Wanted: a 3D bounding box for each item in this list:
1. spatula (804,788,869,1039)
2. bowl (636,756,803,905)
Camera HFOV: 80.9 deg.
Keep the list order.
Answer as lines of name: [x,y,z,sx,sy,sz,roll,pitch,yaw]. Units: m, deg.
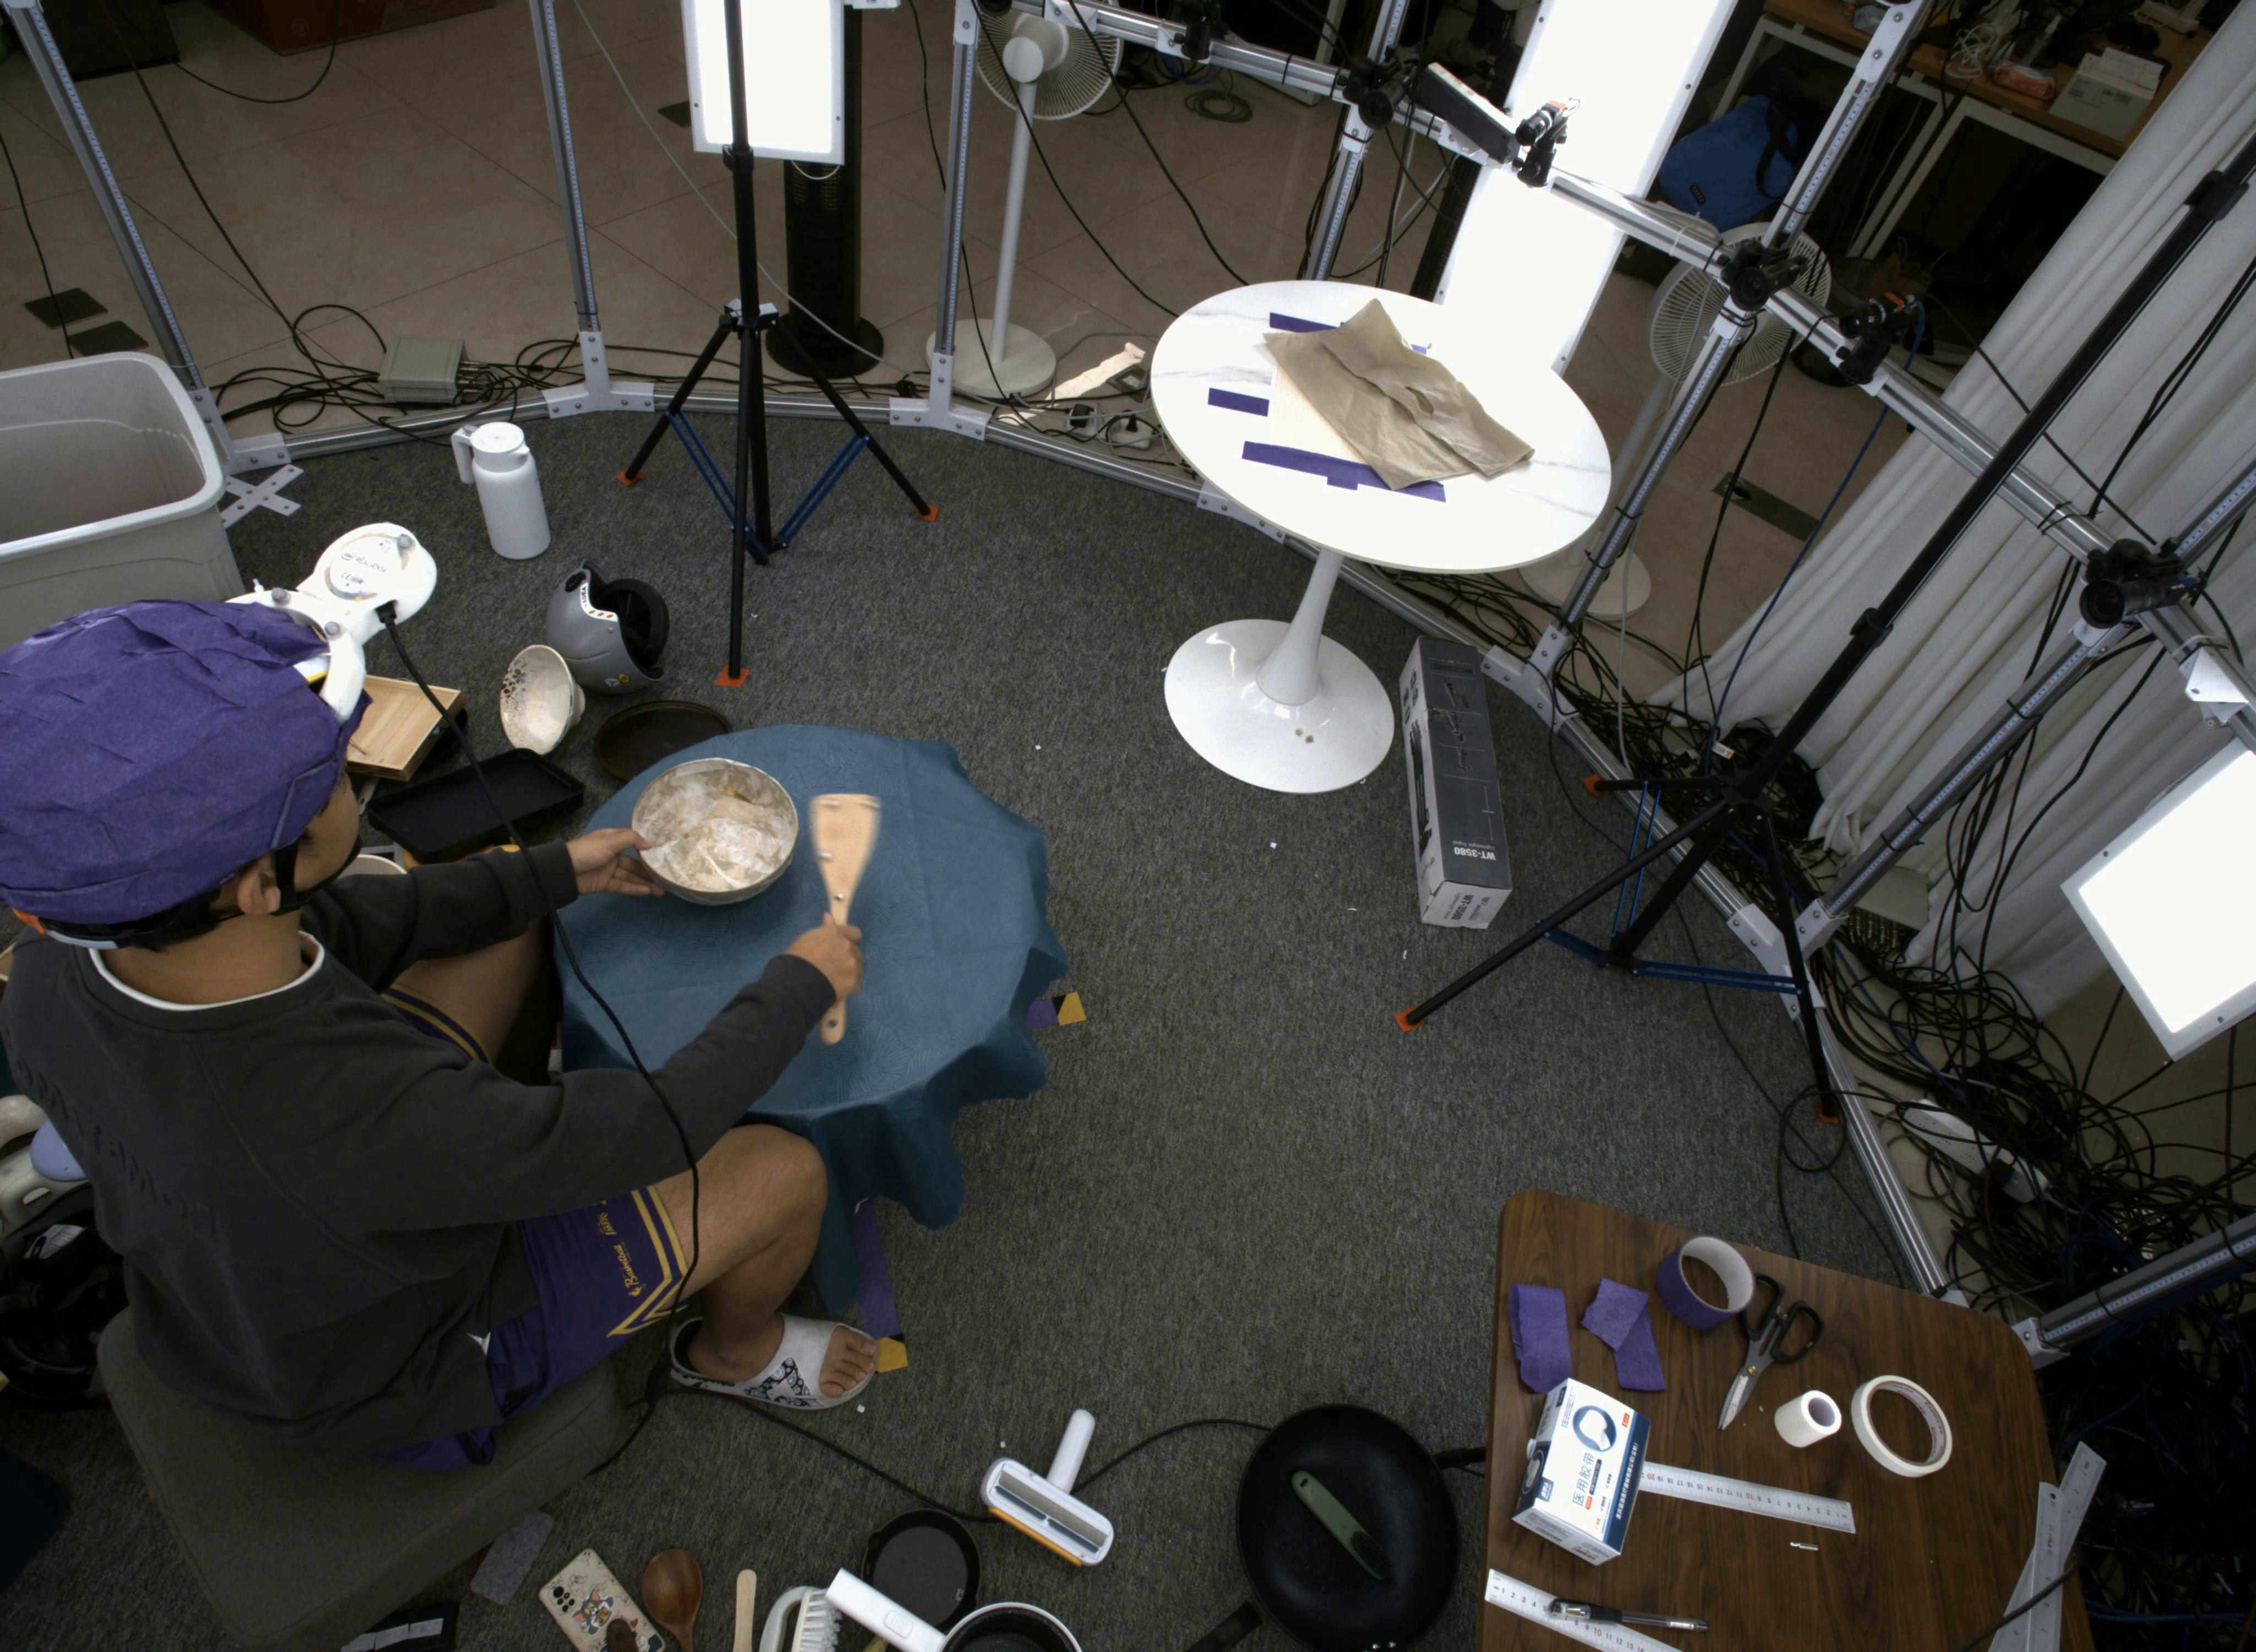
spatula: [-0.343,0.094,1.535,0.081,0.016,0.322,7,59,-25]
bowl: [-0.516,0.021,1.623,0.216,0.096,0.211,12,53,-14]
